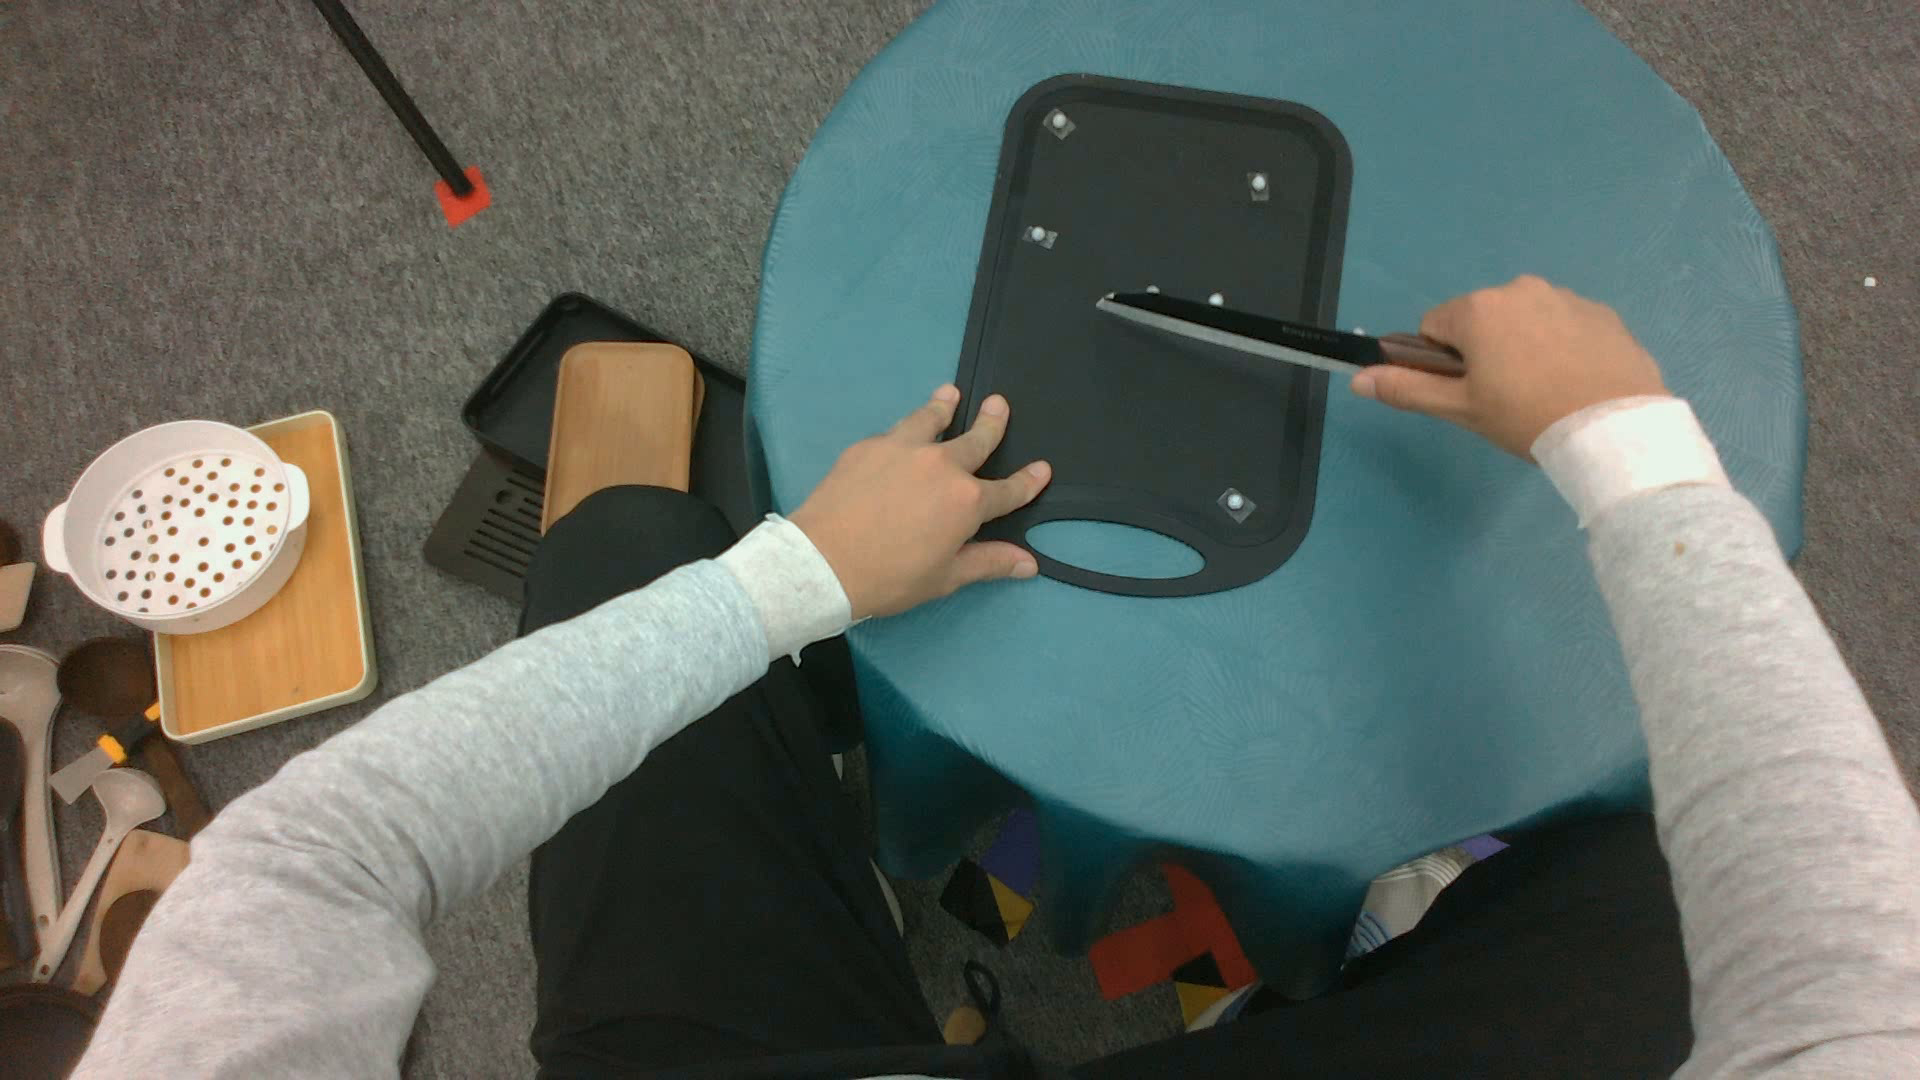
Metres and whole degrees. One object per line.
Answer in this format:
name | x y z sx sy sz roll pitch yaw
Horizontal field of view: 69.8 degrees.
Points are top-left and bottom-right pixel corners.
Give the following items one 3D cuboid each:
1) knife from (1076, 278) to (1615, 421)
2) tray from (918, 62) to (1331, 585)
knife | 0.193 -0.105 0.733 0.289 0.050 0.020 16 71 24
tray | 0.098 -0.132 0.795 0.211 0.010 0.326 10 73 4
